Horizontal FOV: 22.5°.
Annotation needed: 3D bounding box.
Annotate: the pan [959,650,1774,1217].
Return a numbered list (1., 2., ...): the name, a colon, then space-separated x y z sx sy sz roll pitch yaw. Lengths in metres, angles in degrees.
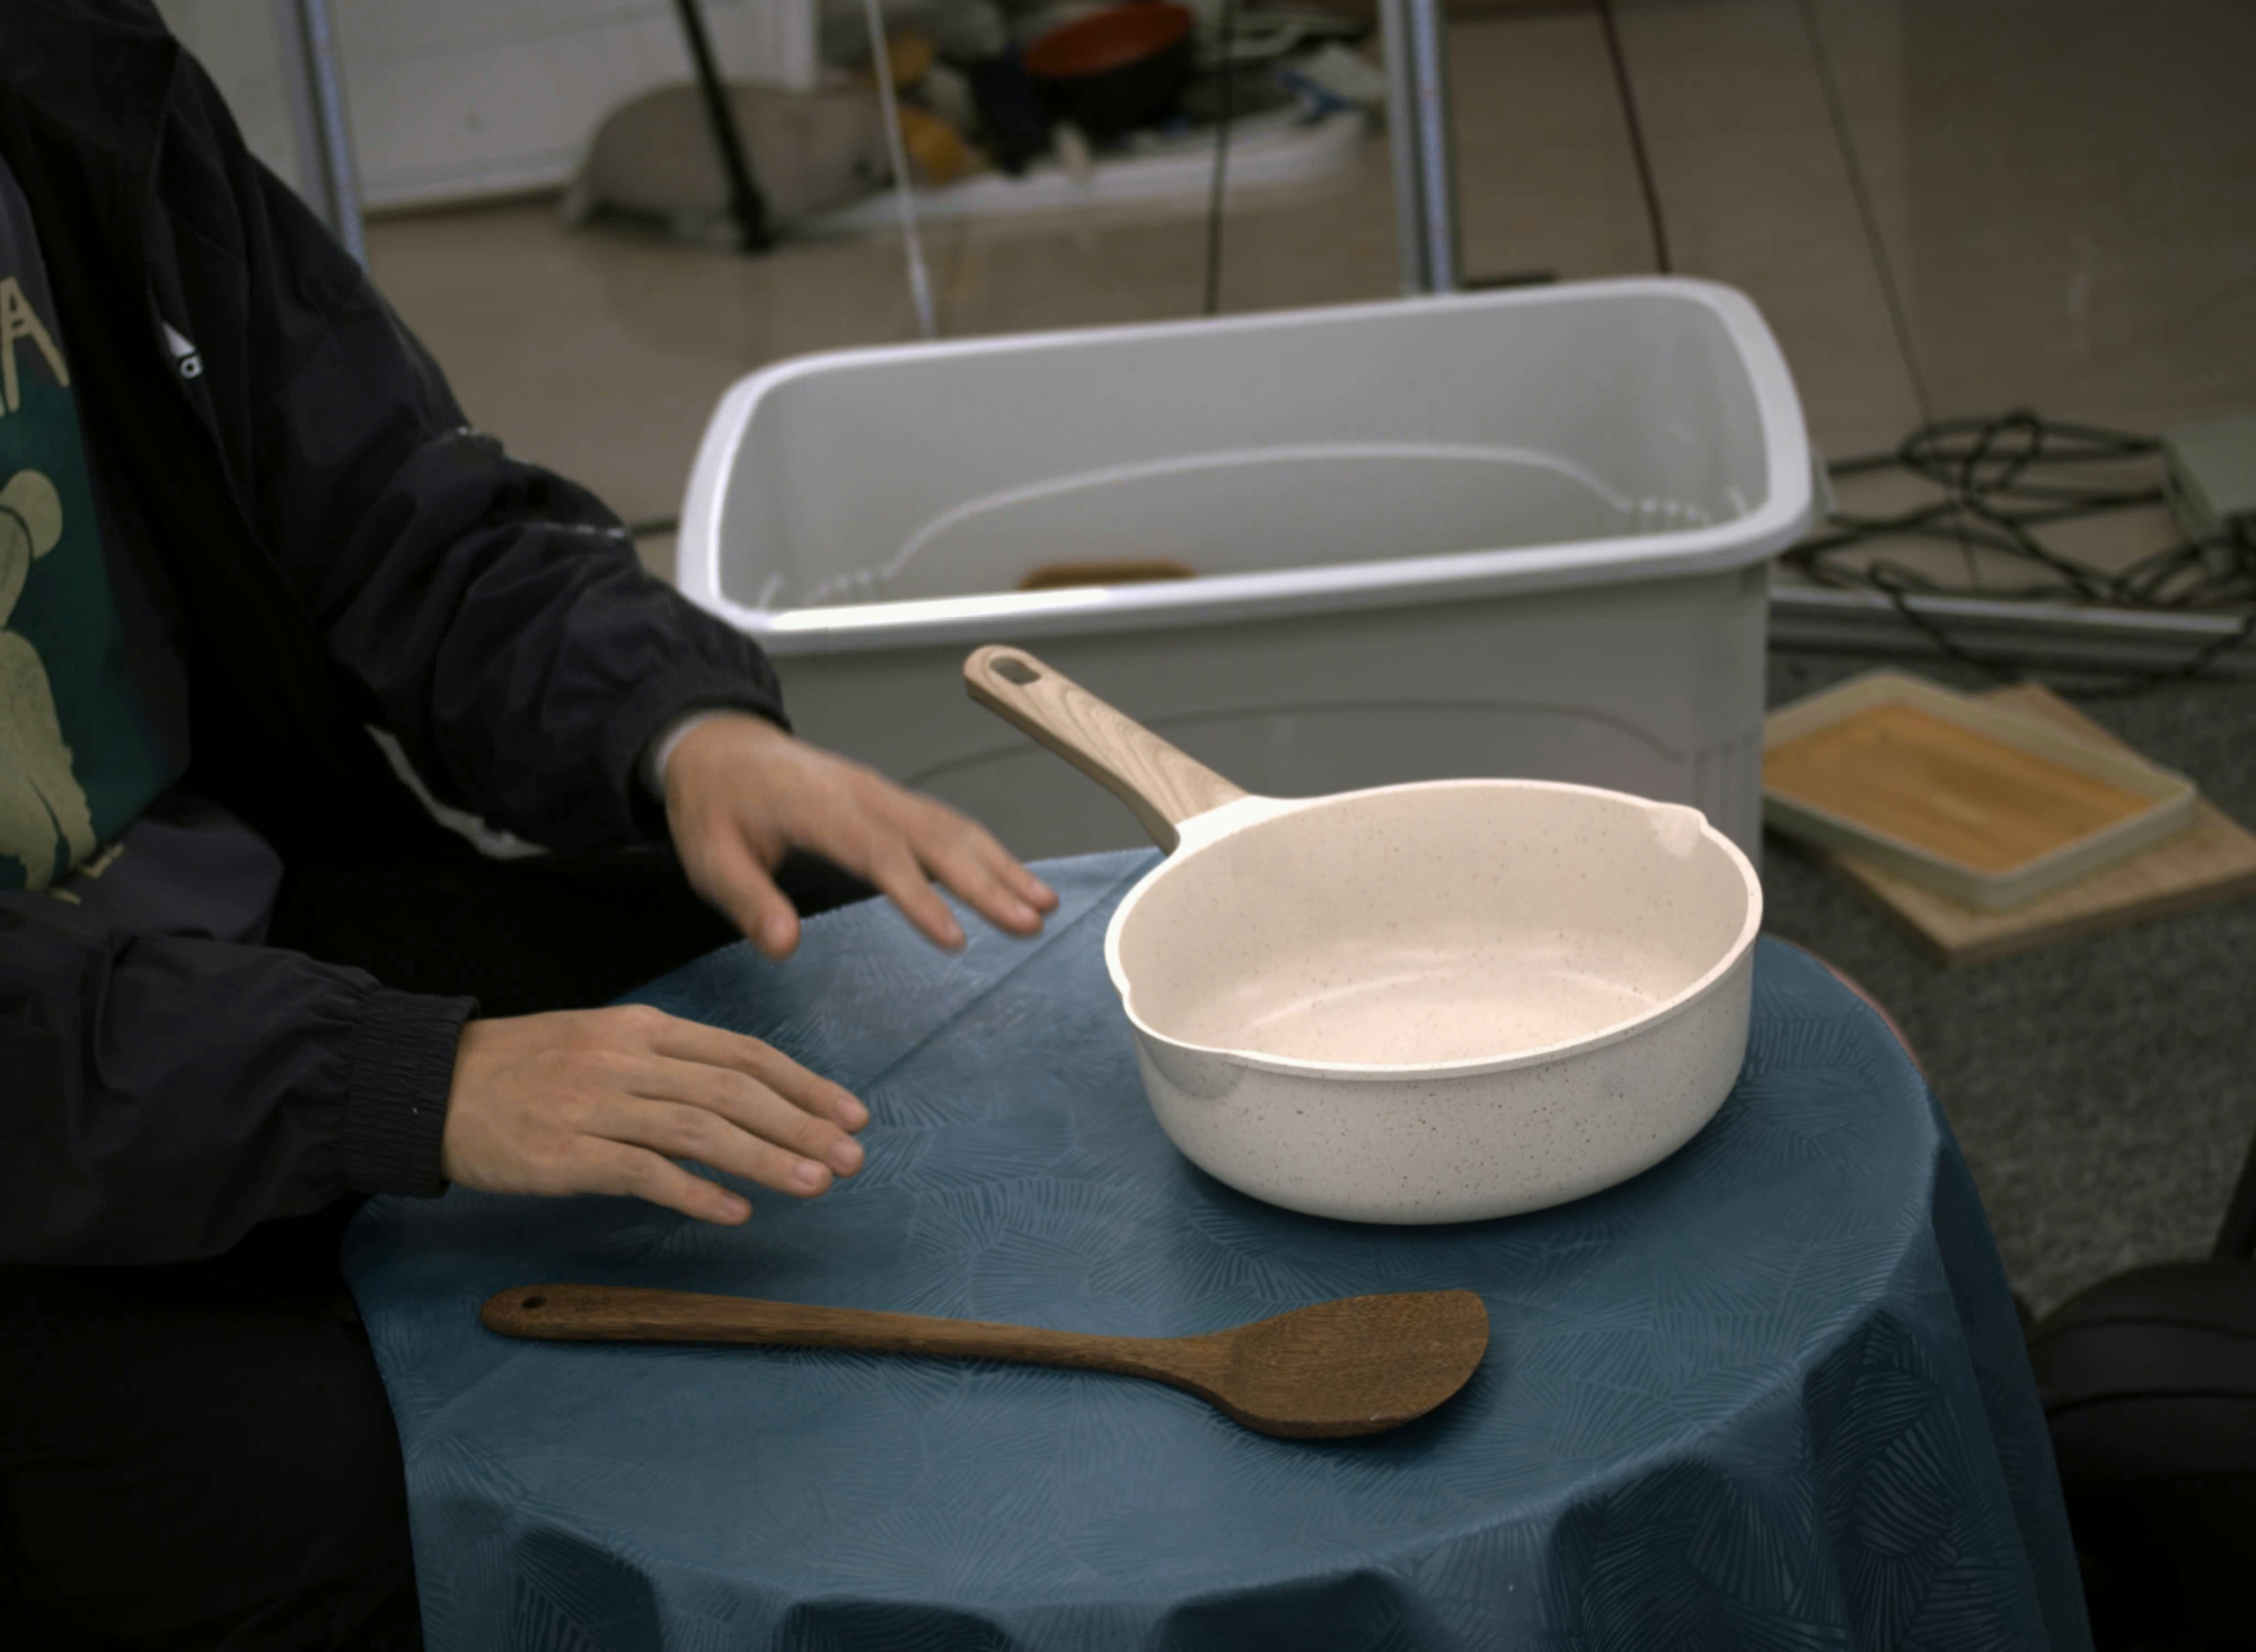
1. pan: 0.070 0.034 2.234 0.261 0.103 0.430 -23 30 -28

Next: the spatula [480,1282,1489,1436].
1. spatula: -0.059 0.185 2.046 0.385 0.016 0.095 2 26 19
